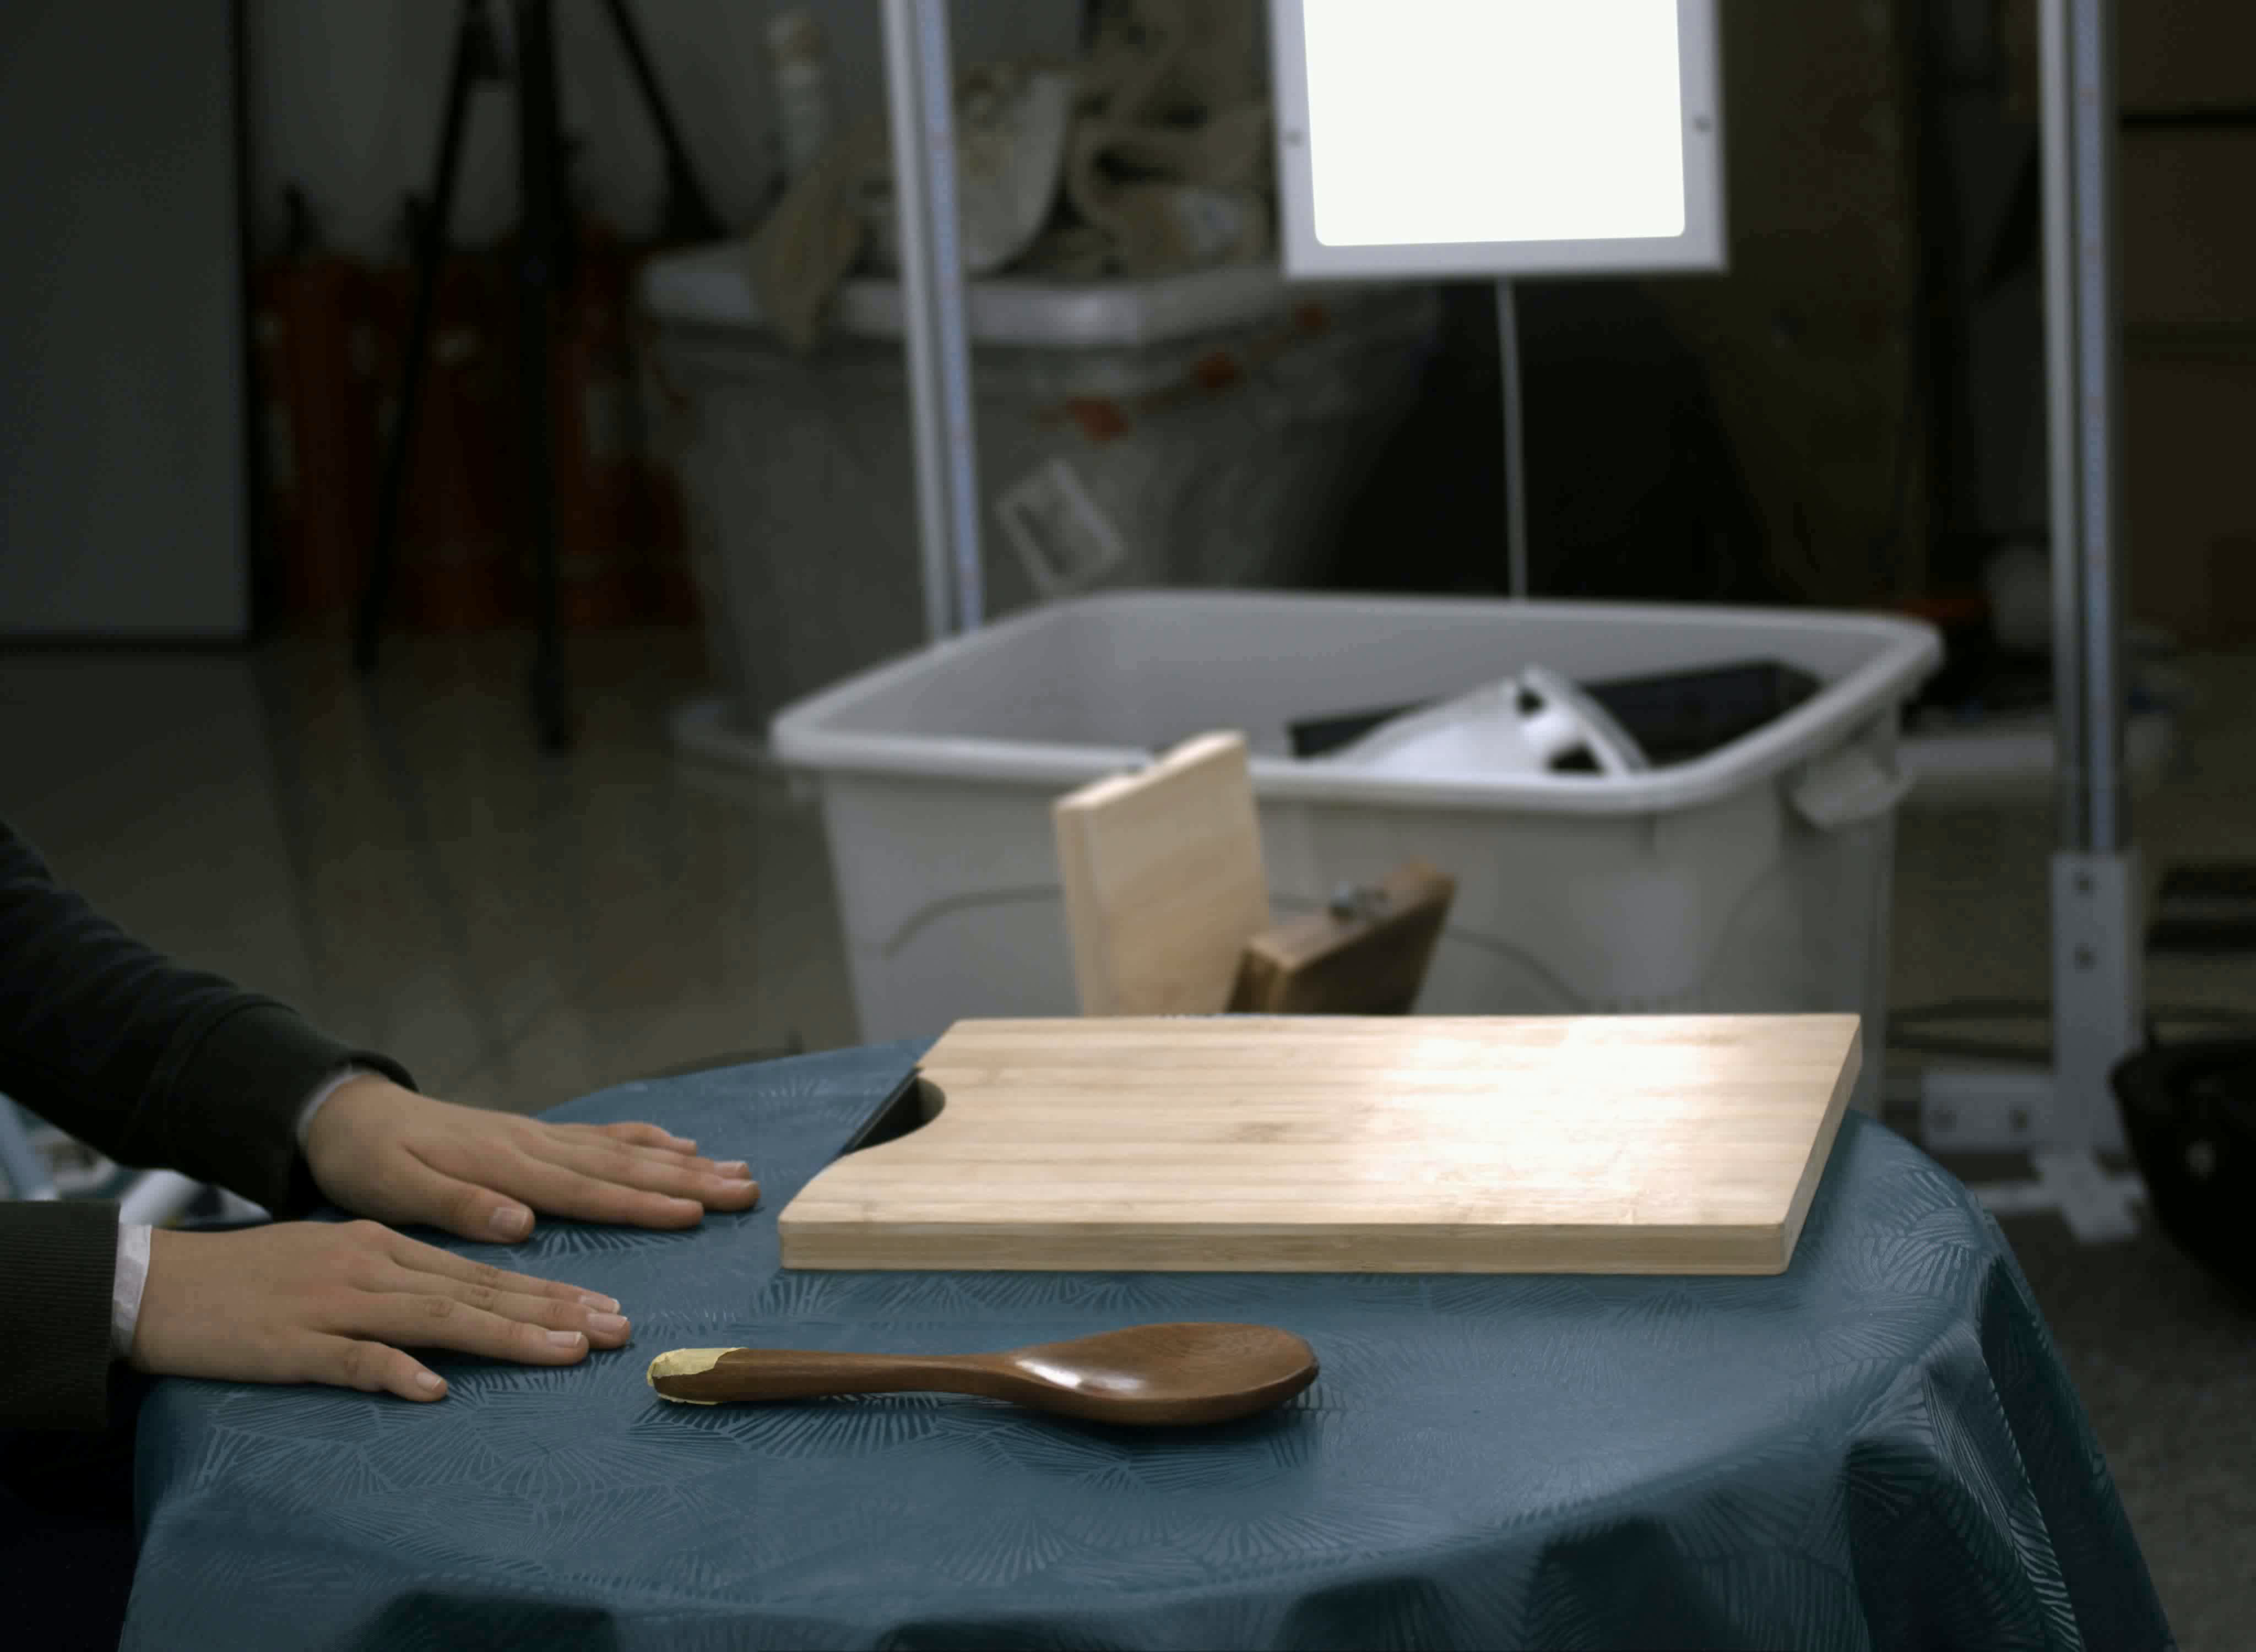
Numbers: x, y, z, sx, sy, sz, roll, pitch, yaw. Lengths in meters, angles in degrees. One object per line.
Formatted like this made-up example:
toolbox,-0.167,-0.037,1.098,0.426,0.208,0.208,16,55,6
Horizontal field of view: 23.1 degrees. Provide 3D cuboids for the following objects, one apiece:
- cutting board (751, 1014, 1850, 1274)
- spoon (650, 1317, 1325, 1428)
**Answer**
cutting board,0.067,0.109,1.912,0.352,0.023,0.247,-1,14,15
spoon,-0.044,0.169,1.701,0.218,0.017,0.074,0,15,17
